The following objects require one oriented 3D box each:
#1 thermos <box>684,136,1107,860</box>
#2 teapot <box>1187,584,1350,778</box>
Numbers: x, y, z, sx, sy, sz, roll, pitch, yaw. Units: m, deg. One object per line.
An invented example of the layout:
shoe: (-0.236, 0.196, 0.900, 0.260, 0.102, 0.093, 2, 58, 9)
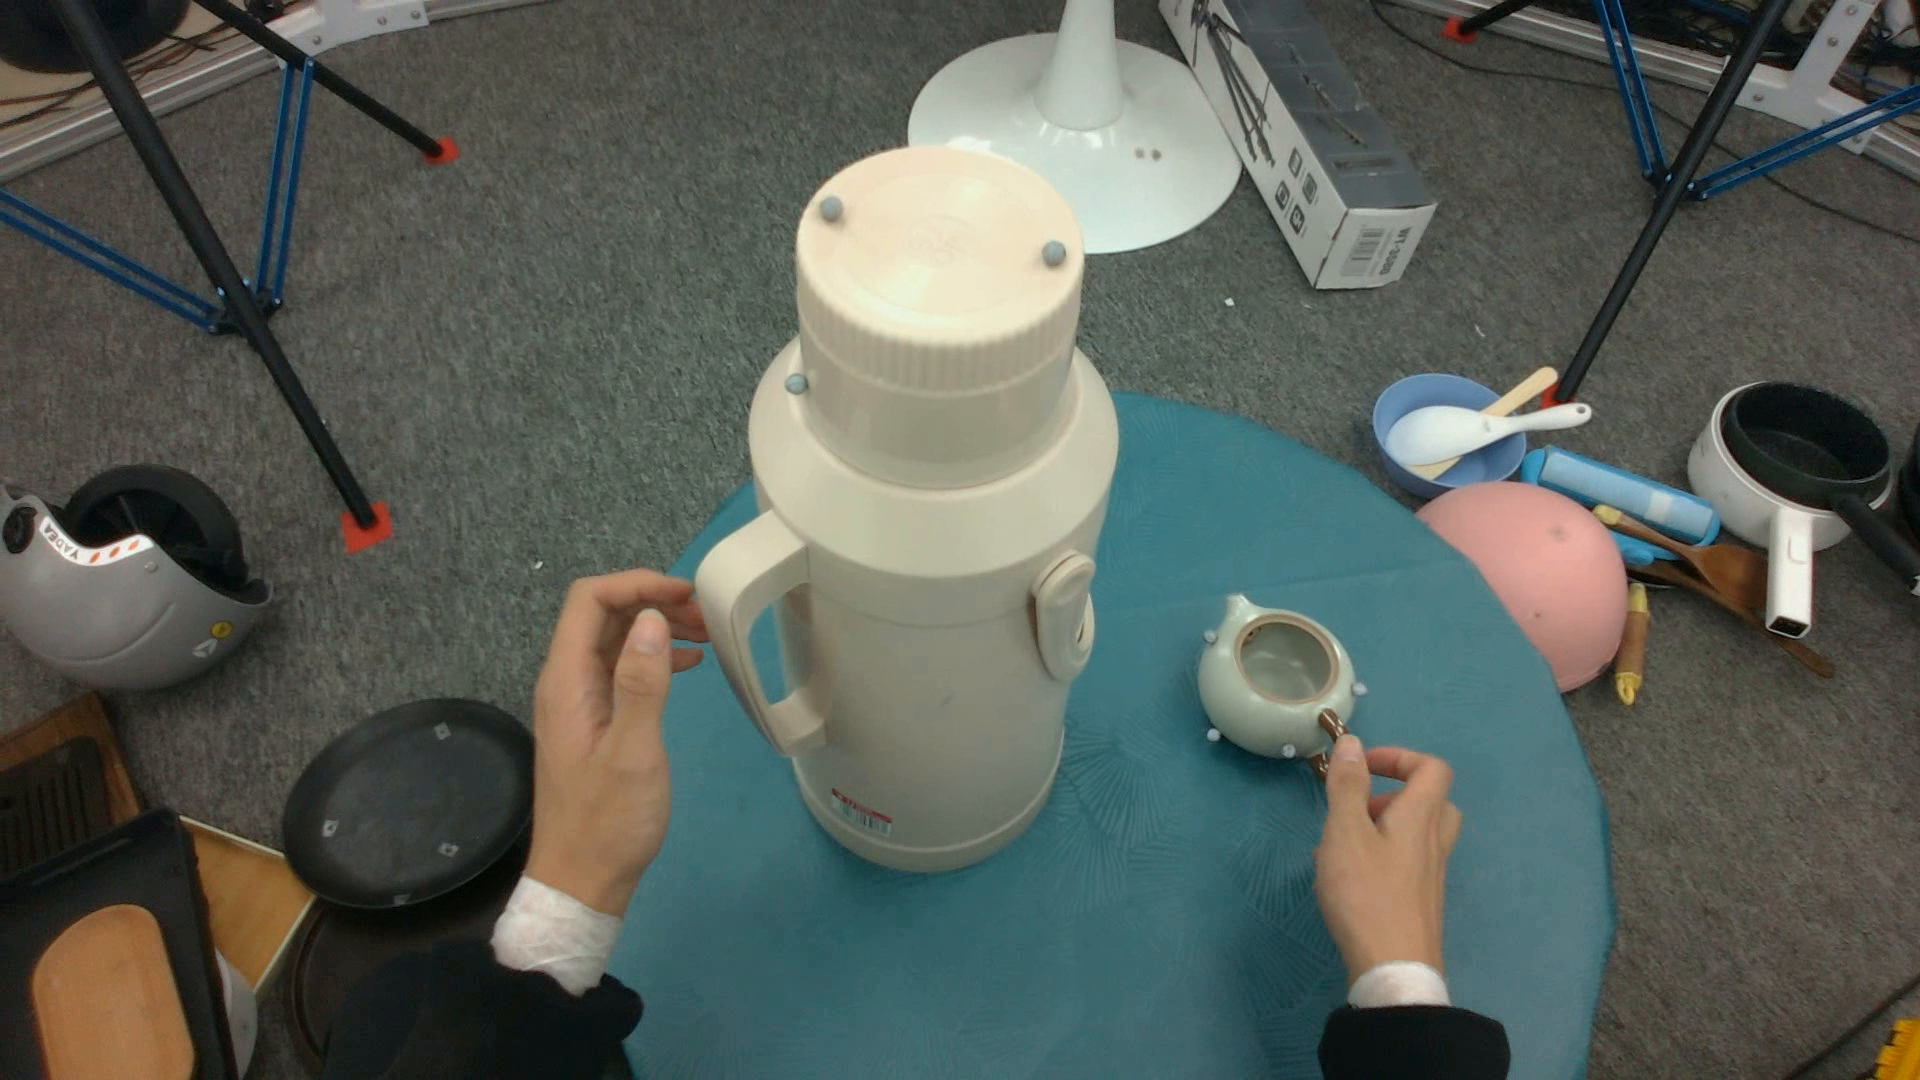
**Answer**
thermos: (-0.032, 0.009, 0.653, 0.208, 0.404, 0.175, -36, 65, -25)
teapot: (0.186, 0.086, 0.816, 0.092, 0.059, 0.128, -23, 57, -22)
